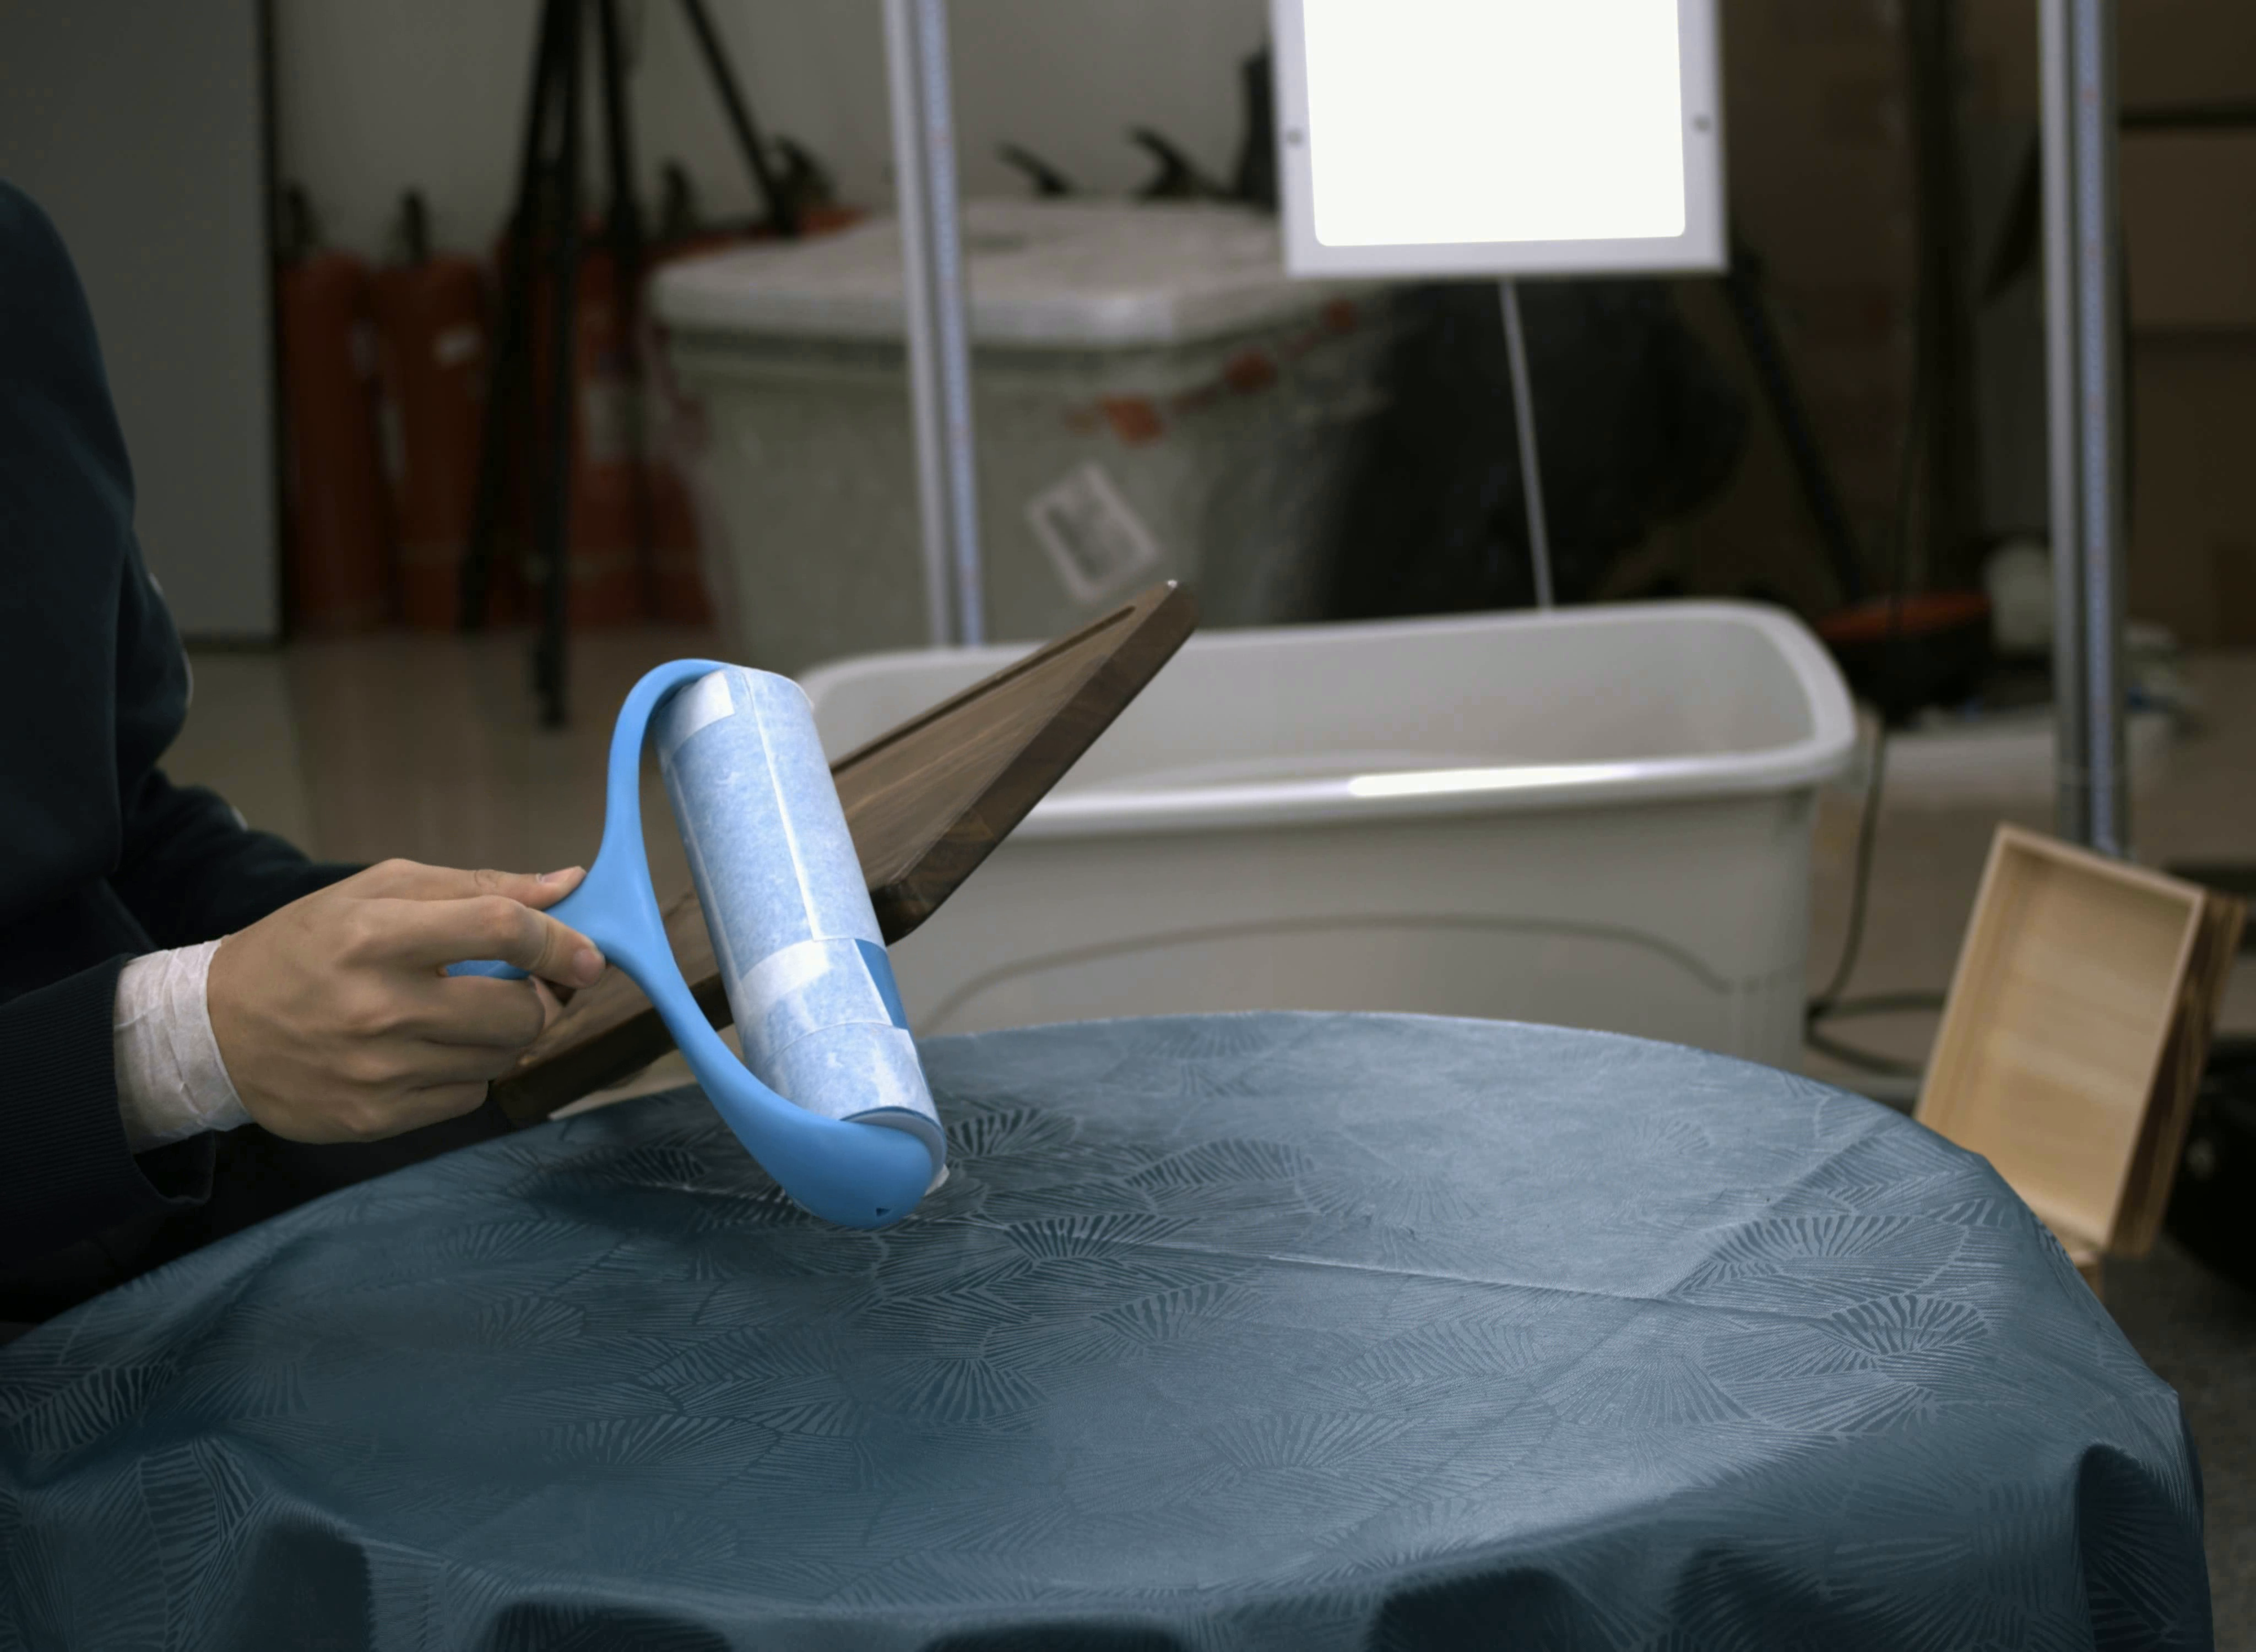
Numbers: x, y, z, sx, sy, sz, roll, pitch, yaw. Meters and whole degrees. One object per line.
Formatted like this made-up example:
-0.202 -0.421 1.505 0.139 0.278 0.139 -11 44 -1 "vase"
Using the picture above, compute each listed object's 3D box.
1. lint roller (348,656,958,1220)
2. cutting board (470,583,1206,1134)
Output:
-0.161 0.047 1.754 0.178 0.068 0.230 -14 51 -11 "lint roller"
-0.130 0.028 1.969 0.360 0.023 0.197 -27 15 47 "cutting board"
